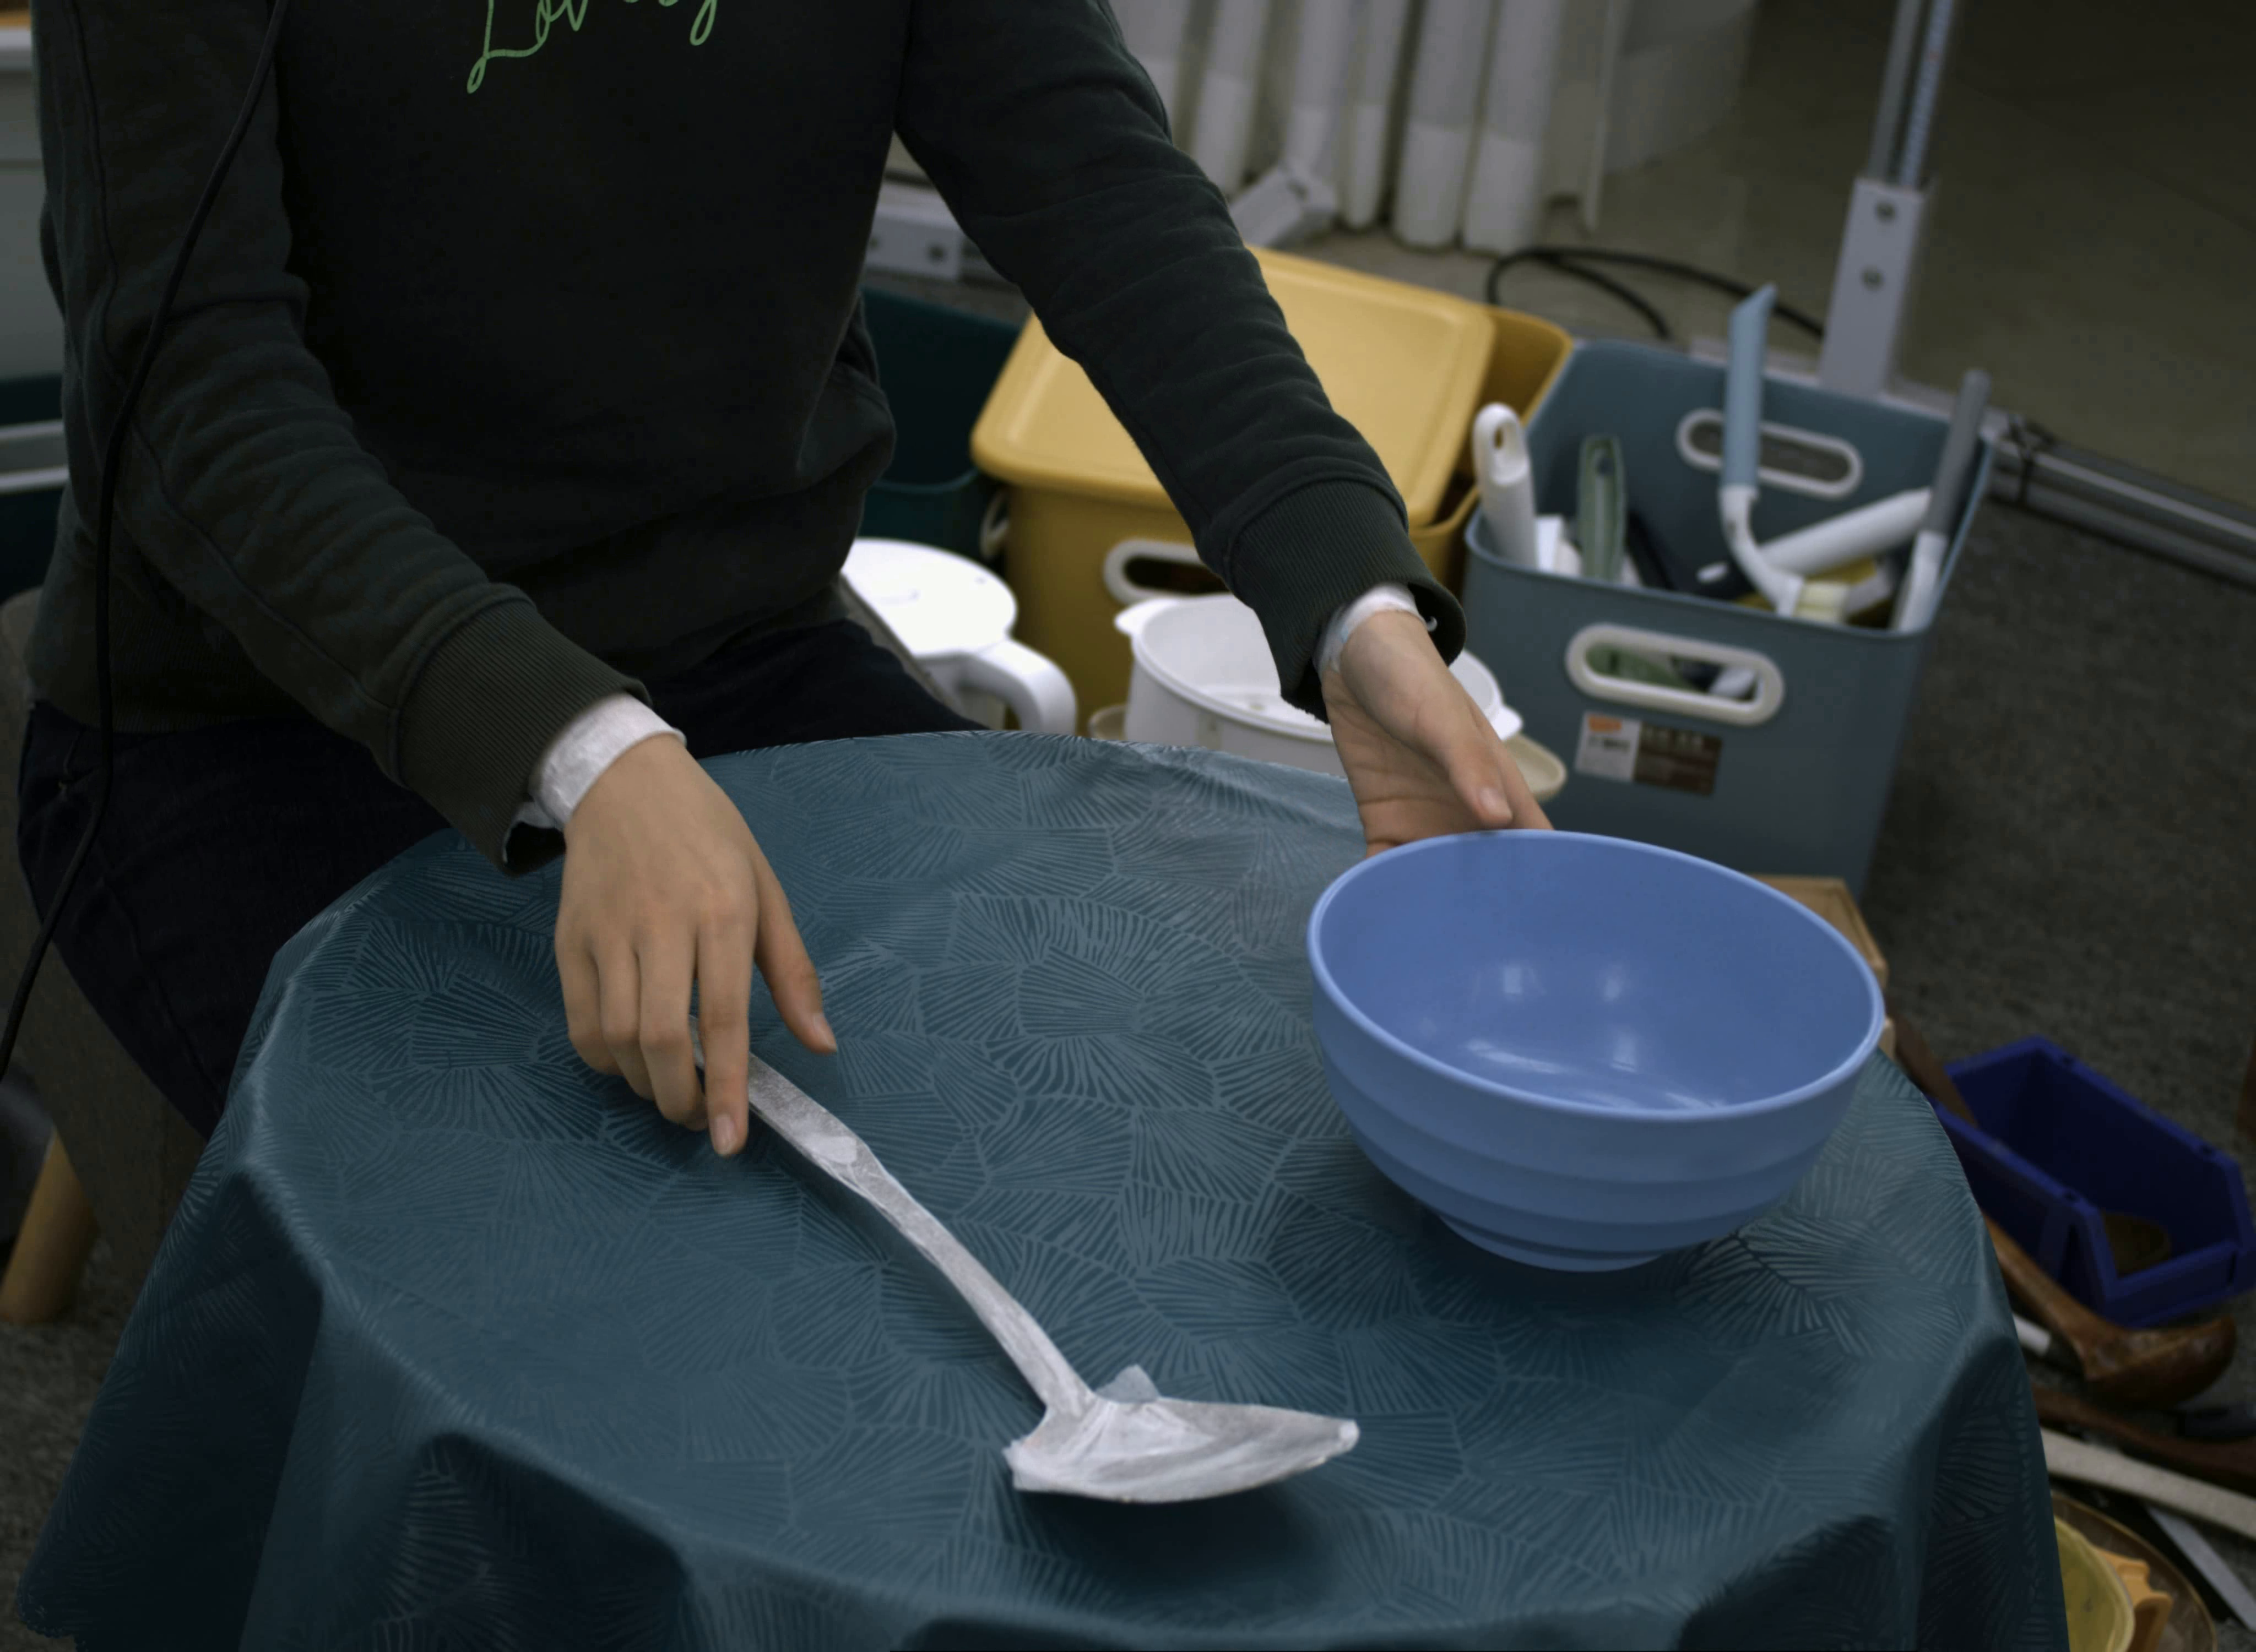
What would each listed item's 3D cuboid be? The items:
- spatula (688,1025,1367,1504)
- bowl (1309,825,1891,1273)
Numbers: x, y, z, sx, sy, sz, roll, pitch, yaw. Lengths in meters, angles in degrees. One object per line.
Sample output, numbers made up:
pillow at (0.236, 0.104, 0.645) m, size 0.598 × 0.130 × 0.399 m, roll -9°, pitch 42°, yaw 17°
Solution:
spatula at (-0.057, 0.133, 1.725) m, size 0.098 × 0.044 × 0.368 m, roll -13°, pitch 33°, yaw -30°
bowl at (0.152, 0.087, 1.801) m, size 0.196 × 0.095 × 0.198 m, roll 6°, pitch 28°, yaw -3°
